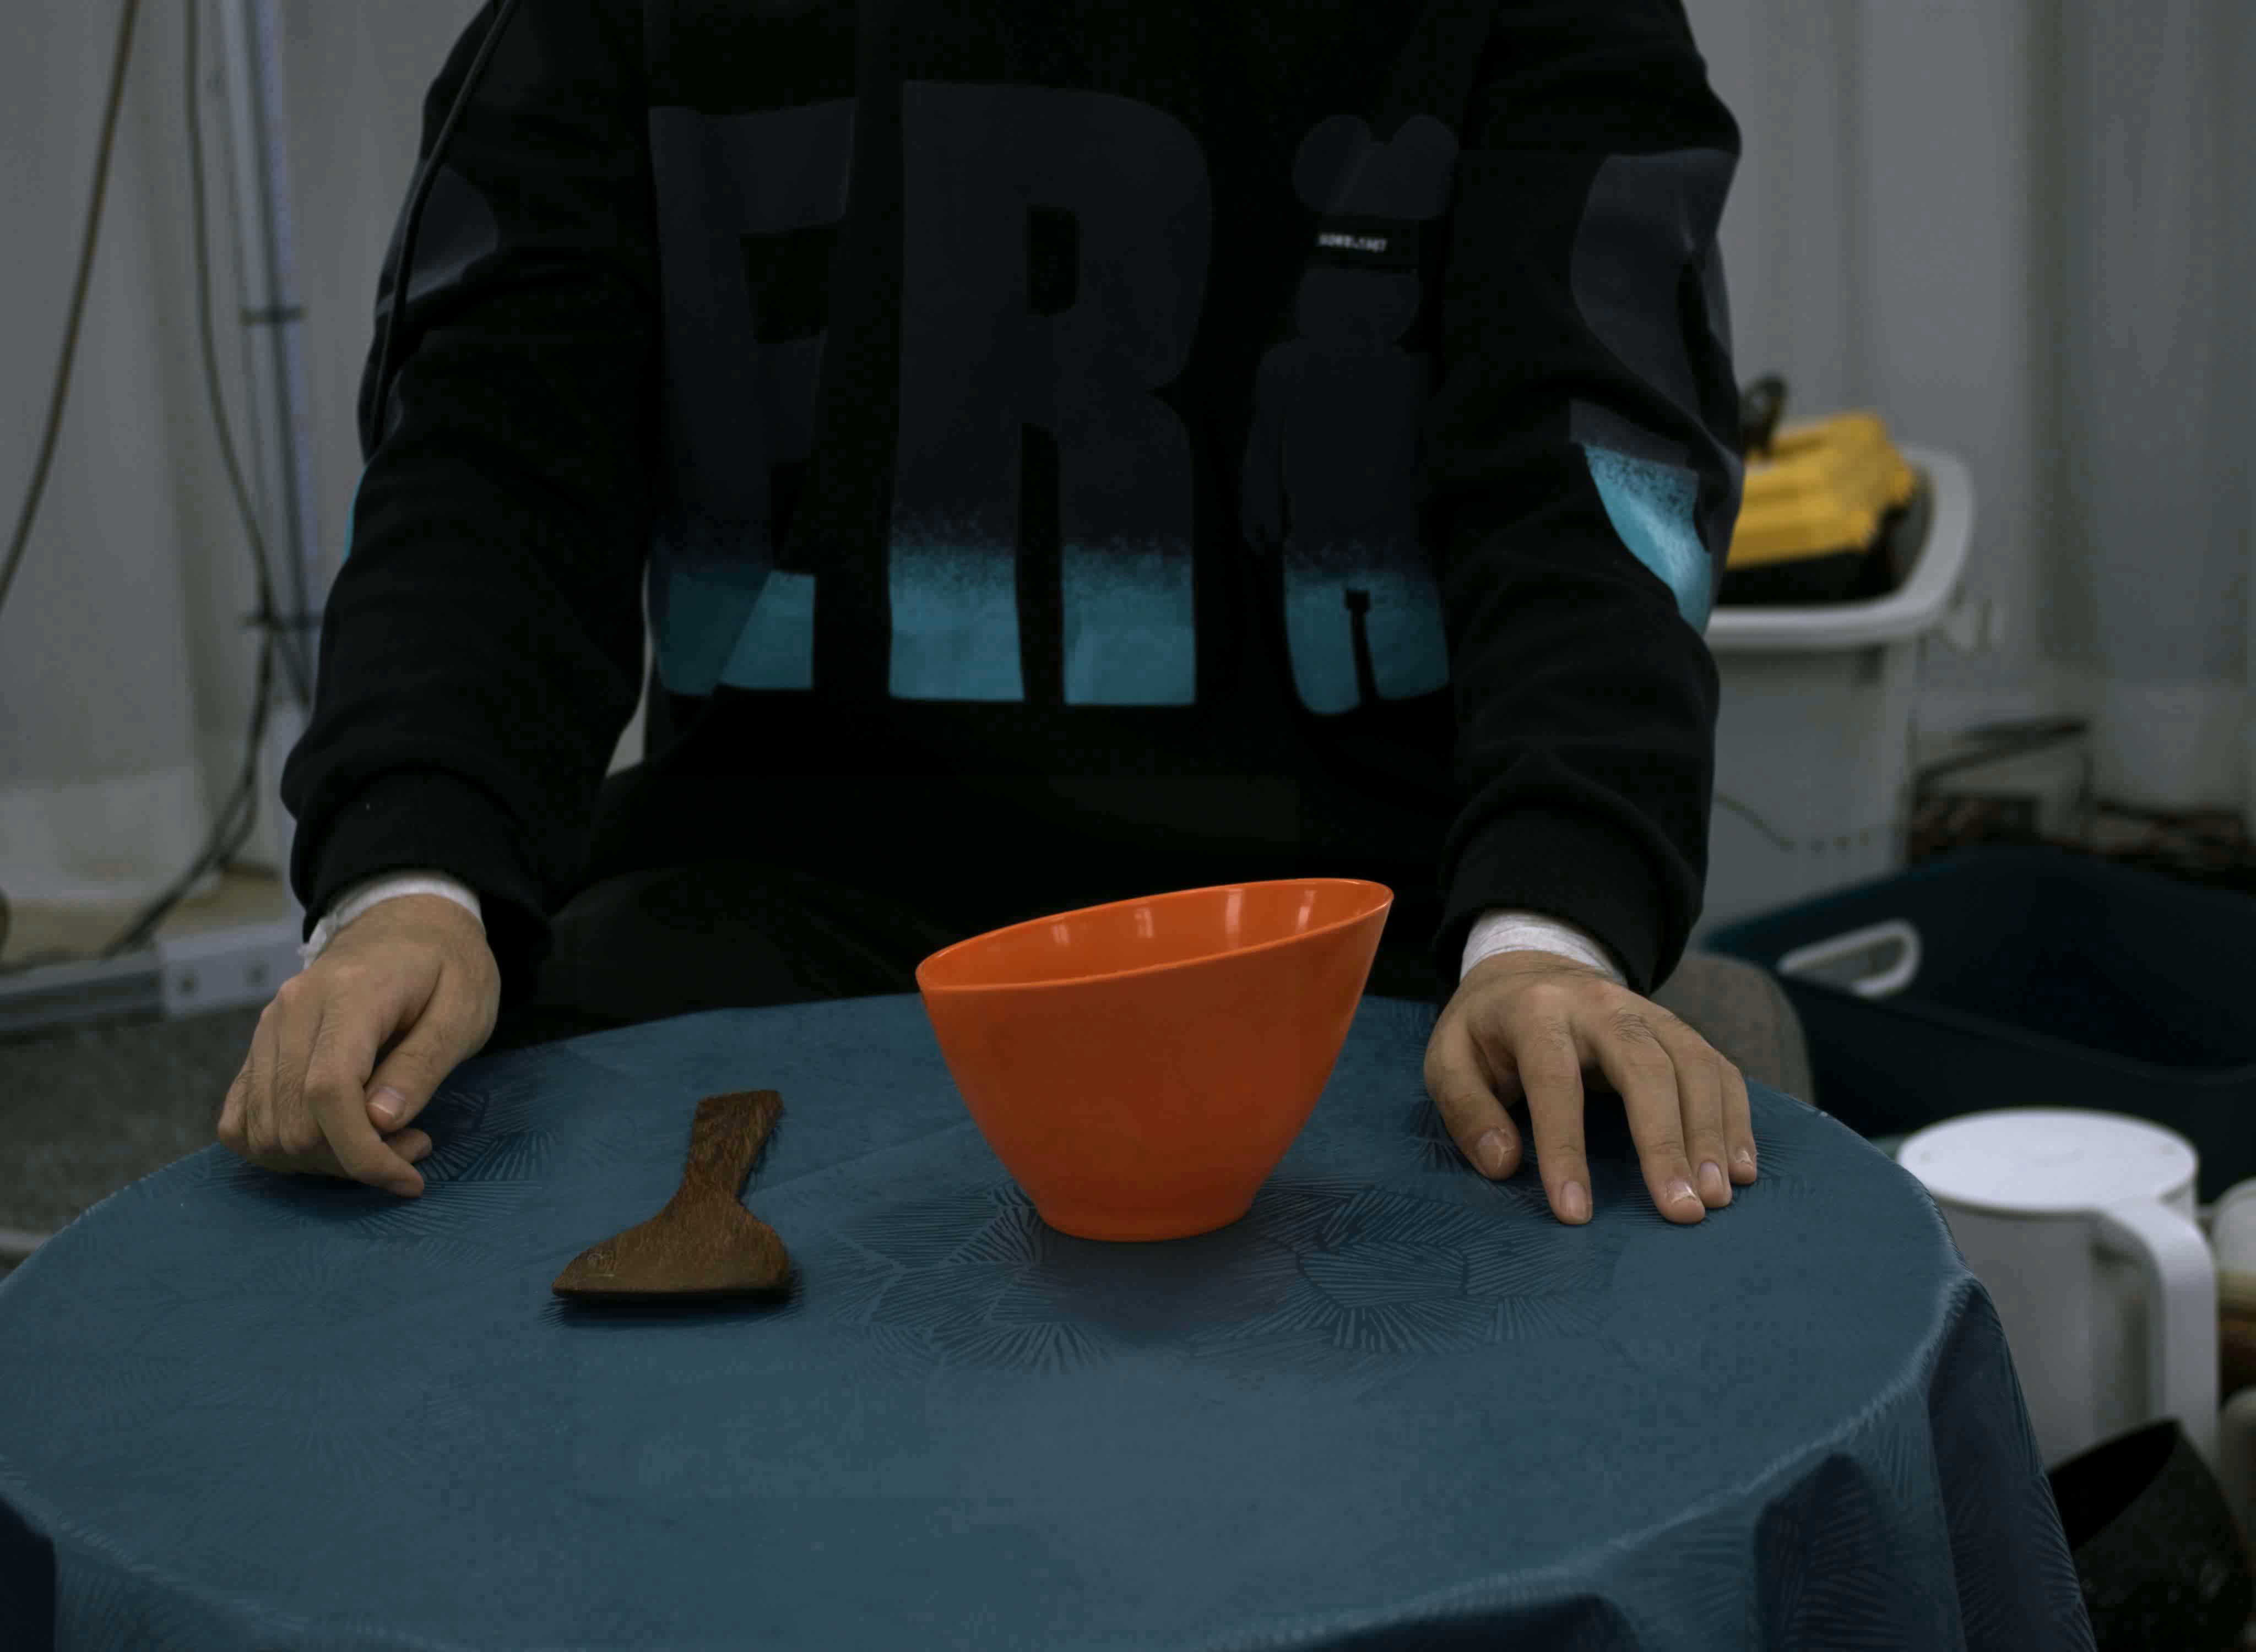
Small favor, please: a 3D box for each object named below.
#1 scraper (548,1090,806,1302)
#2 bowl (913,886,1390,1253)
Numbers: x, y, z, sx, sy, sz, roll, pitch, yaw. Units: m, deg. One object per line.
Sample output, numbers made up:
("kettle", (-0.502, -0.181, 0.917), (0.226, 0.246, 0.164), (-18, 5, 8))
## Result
("scraper", (-0.132, 0.116, 1.720), (0.075, 0.011, 0.212), (-1, 14, 3))
("bowl", (0.009, 0.074, 1.677), (0.147, 0.104, 0.149), (-4, 13, 1))
